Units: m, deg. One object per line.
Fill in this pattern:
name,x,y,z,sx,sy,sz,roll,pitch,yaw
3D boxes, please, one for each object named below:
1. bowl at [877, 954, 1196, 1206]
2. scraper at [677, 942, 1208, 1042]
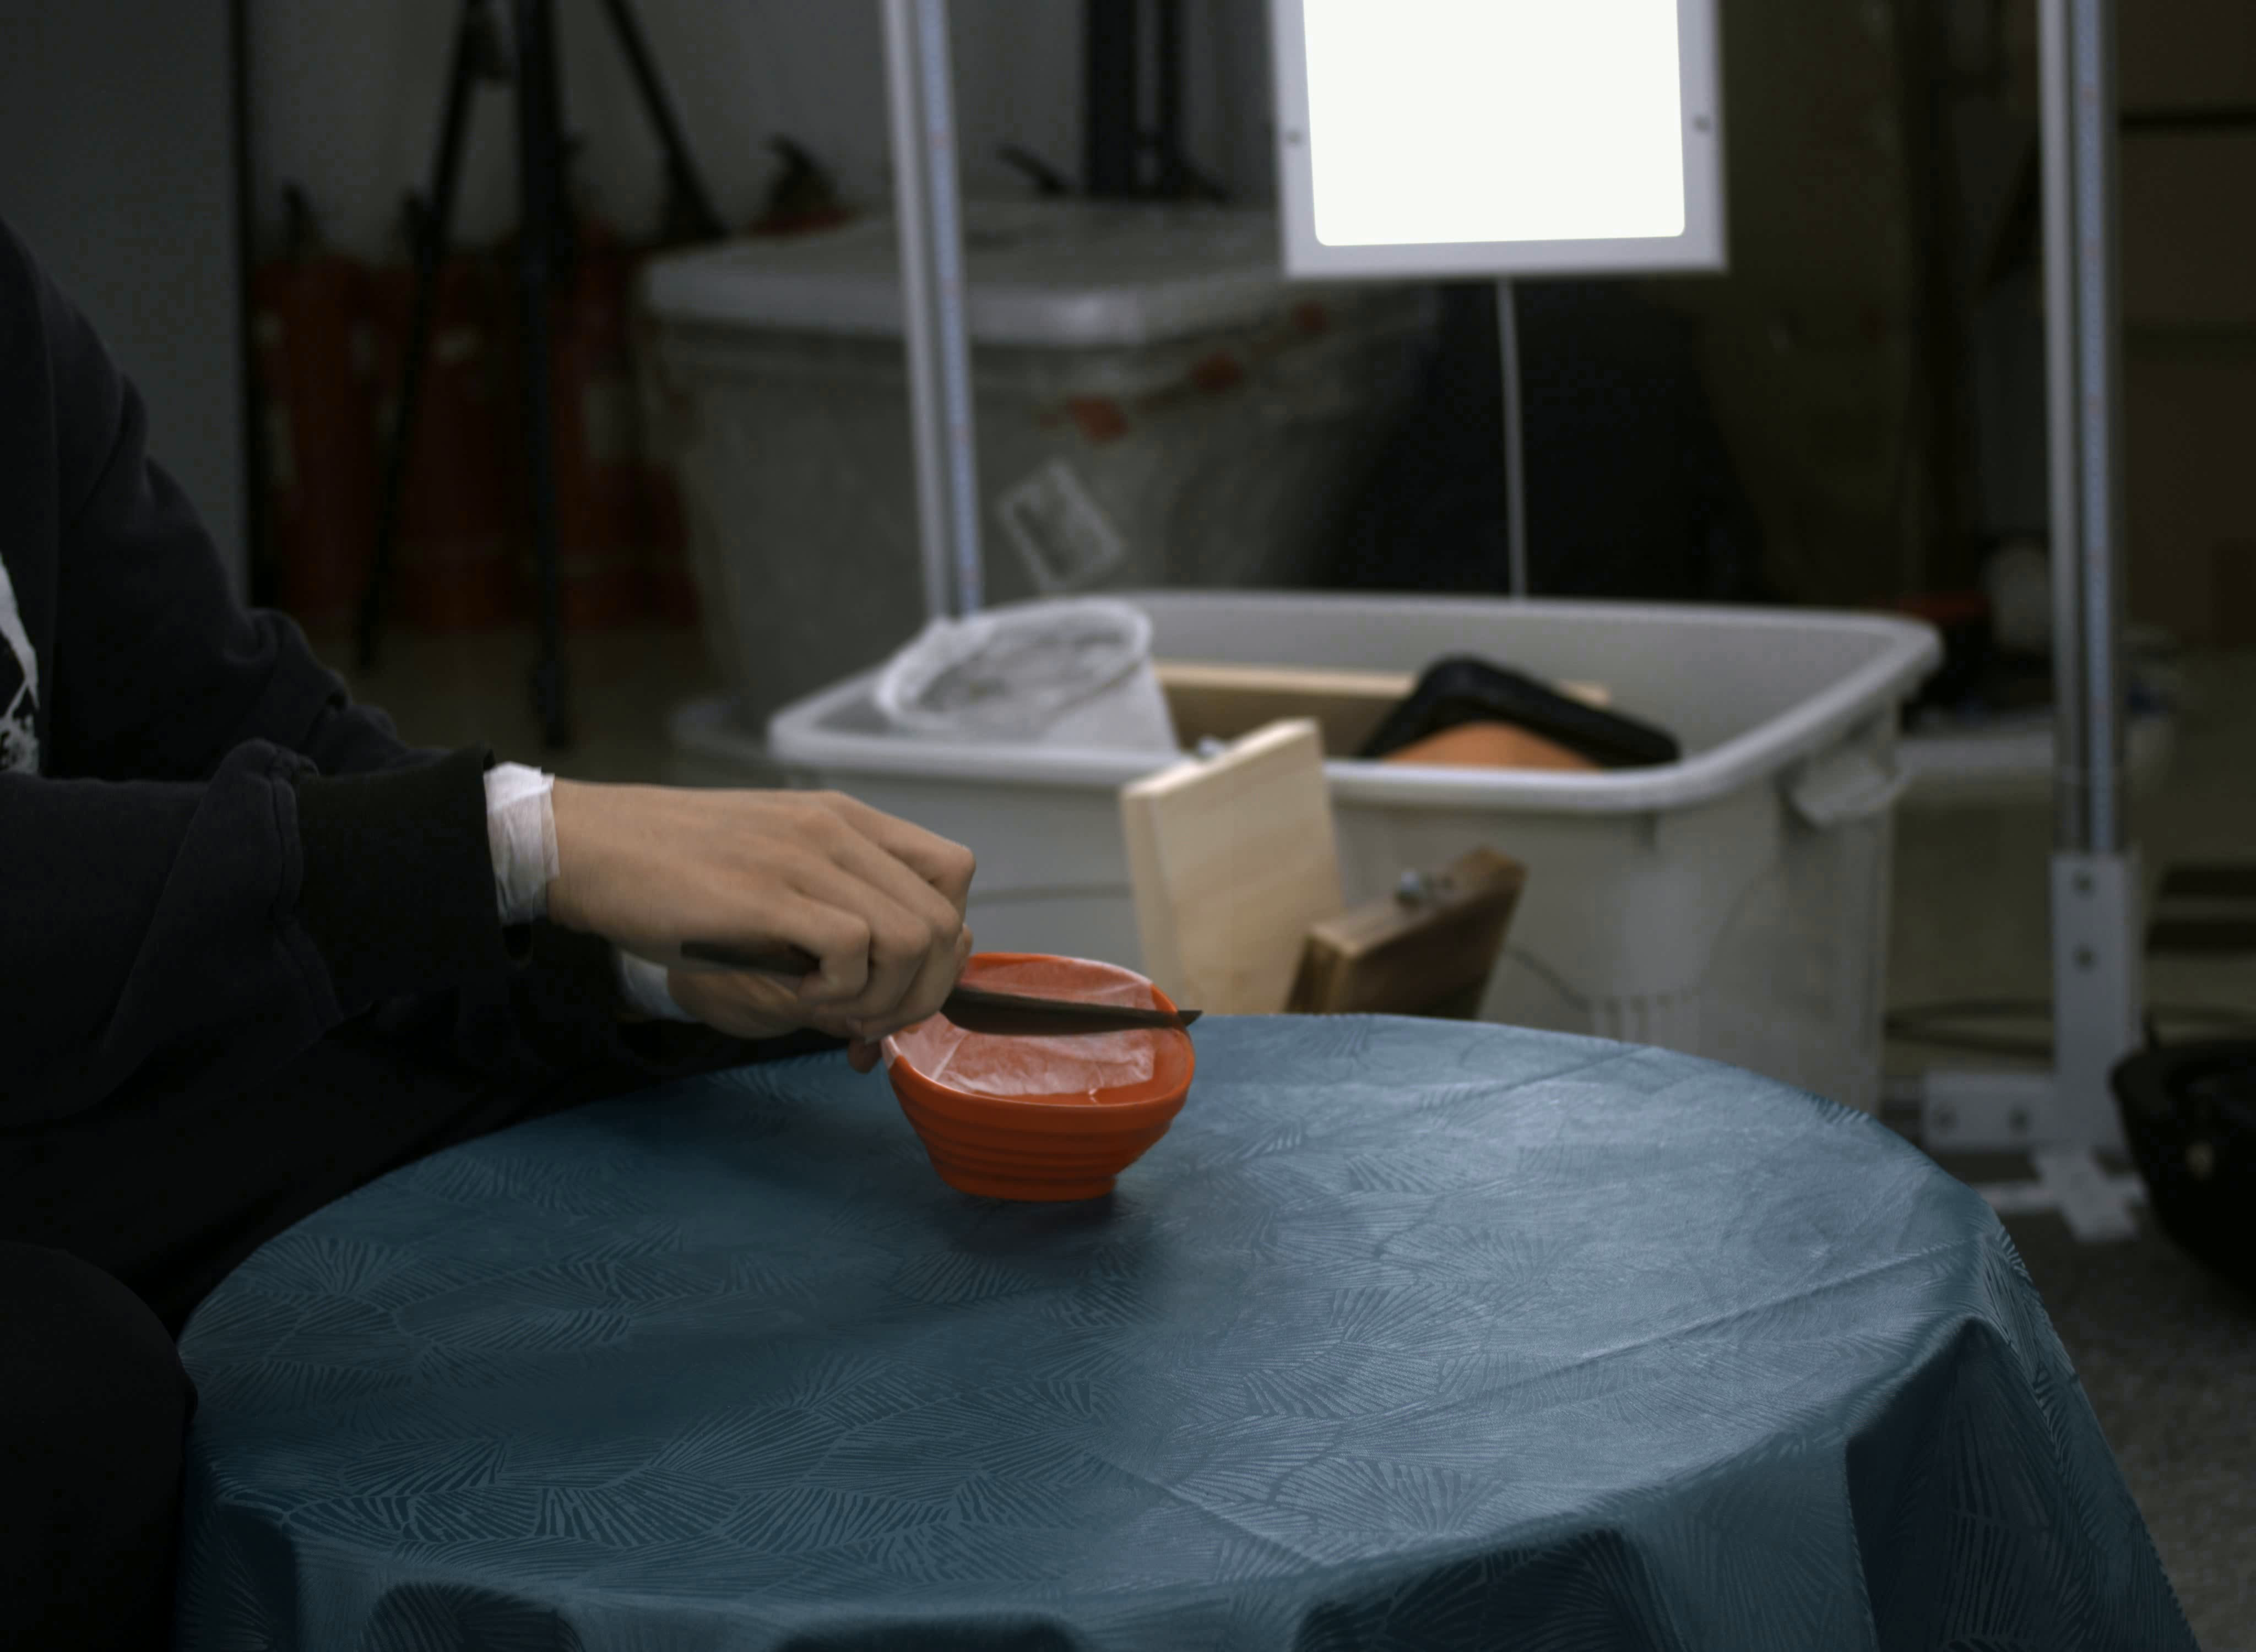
bowl,-0.034,0.092,1.907,0.118,0.052,0.118,5,28,-4
scraper,-0.064,0.054,1.767,0.077,0.011,0.206,-7,-14,41
